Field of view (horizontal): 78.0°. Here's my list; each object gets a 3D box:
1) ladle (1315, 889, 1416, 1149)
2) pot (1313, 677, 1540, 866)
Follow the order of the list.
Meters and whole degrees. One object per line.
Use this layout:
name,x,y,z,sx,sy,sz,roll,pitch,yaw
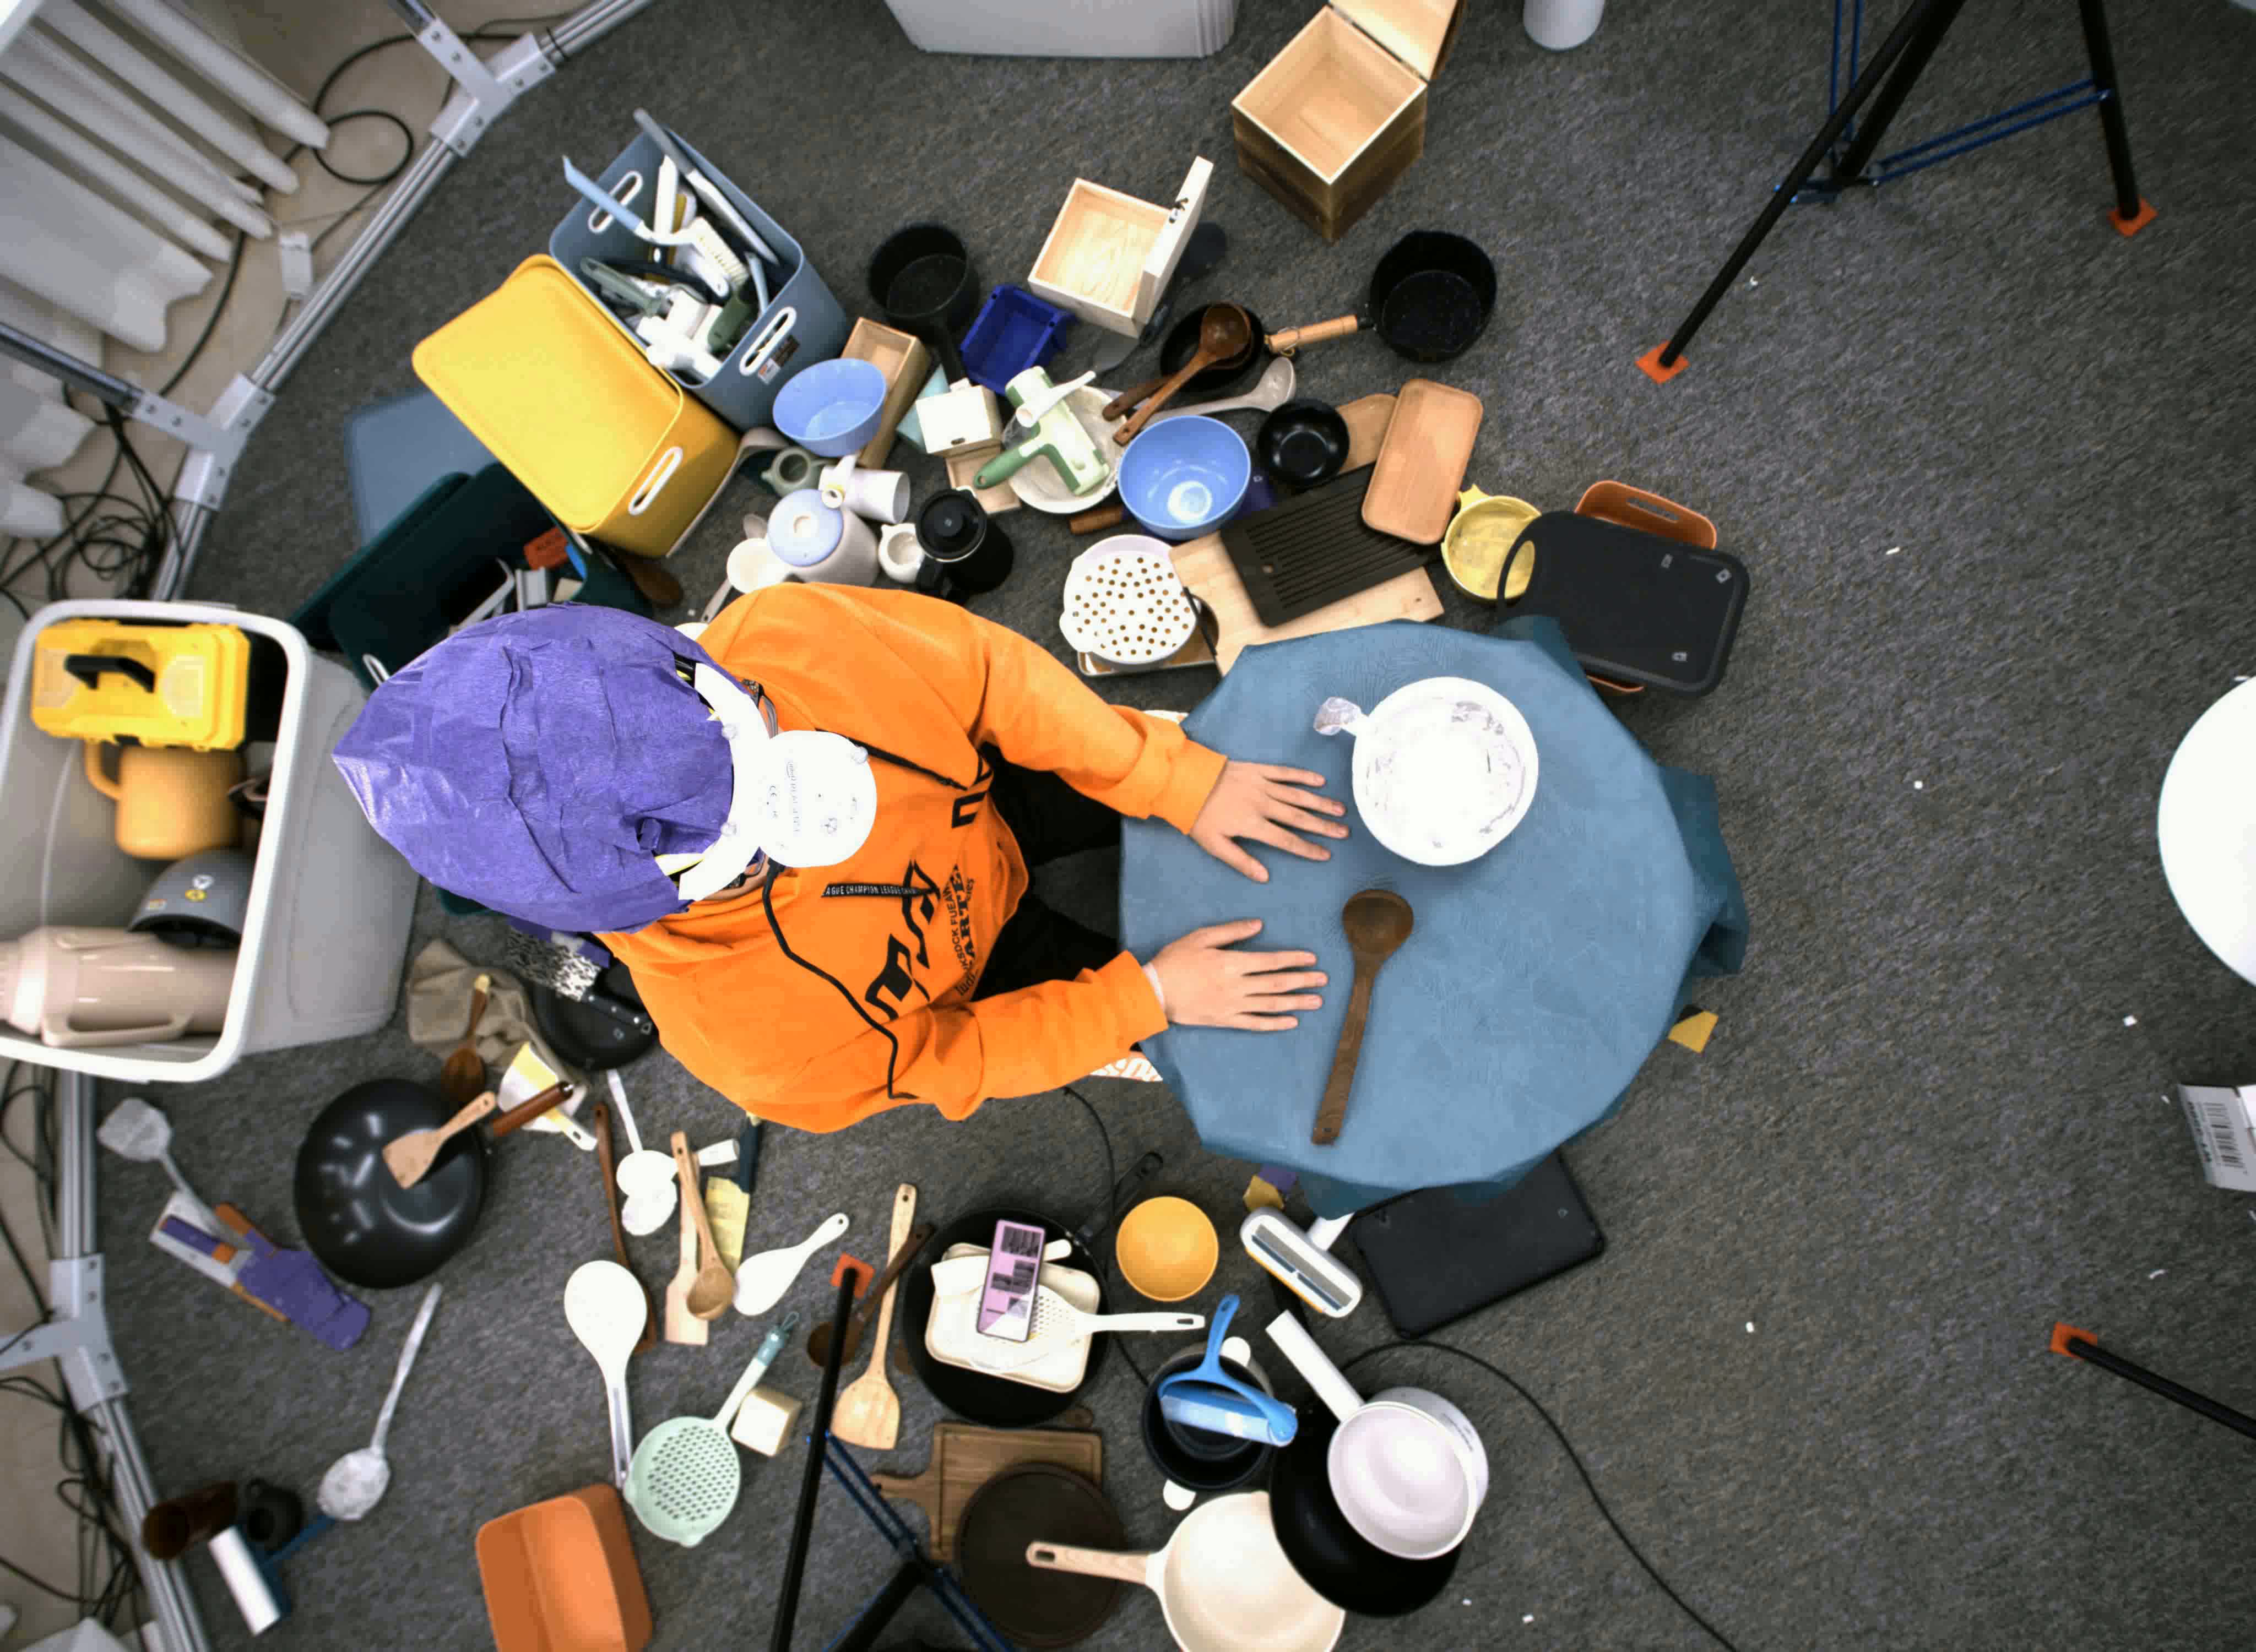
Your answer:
ladle,0.234,0.199,1.424,0.076,0.071,0.273,14,89,13
pot,0.293,-0.065,1.393,0.233,0.137,0.179,30,91,11
